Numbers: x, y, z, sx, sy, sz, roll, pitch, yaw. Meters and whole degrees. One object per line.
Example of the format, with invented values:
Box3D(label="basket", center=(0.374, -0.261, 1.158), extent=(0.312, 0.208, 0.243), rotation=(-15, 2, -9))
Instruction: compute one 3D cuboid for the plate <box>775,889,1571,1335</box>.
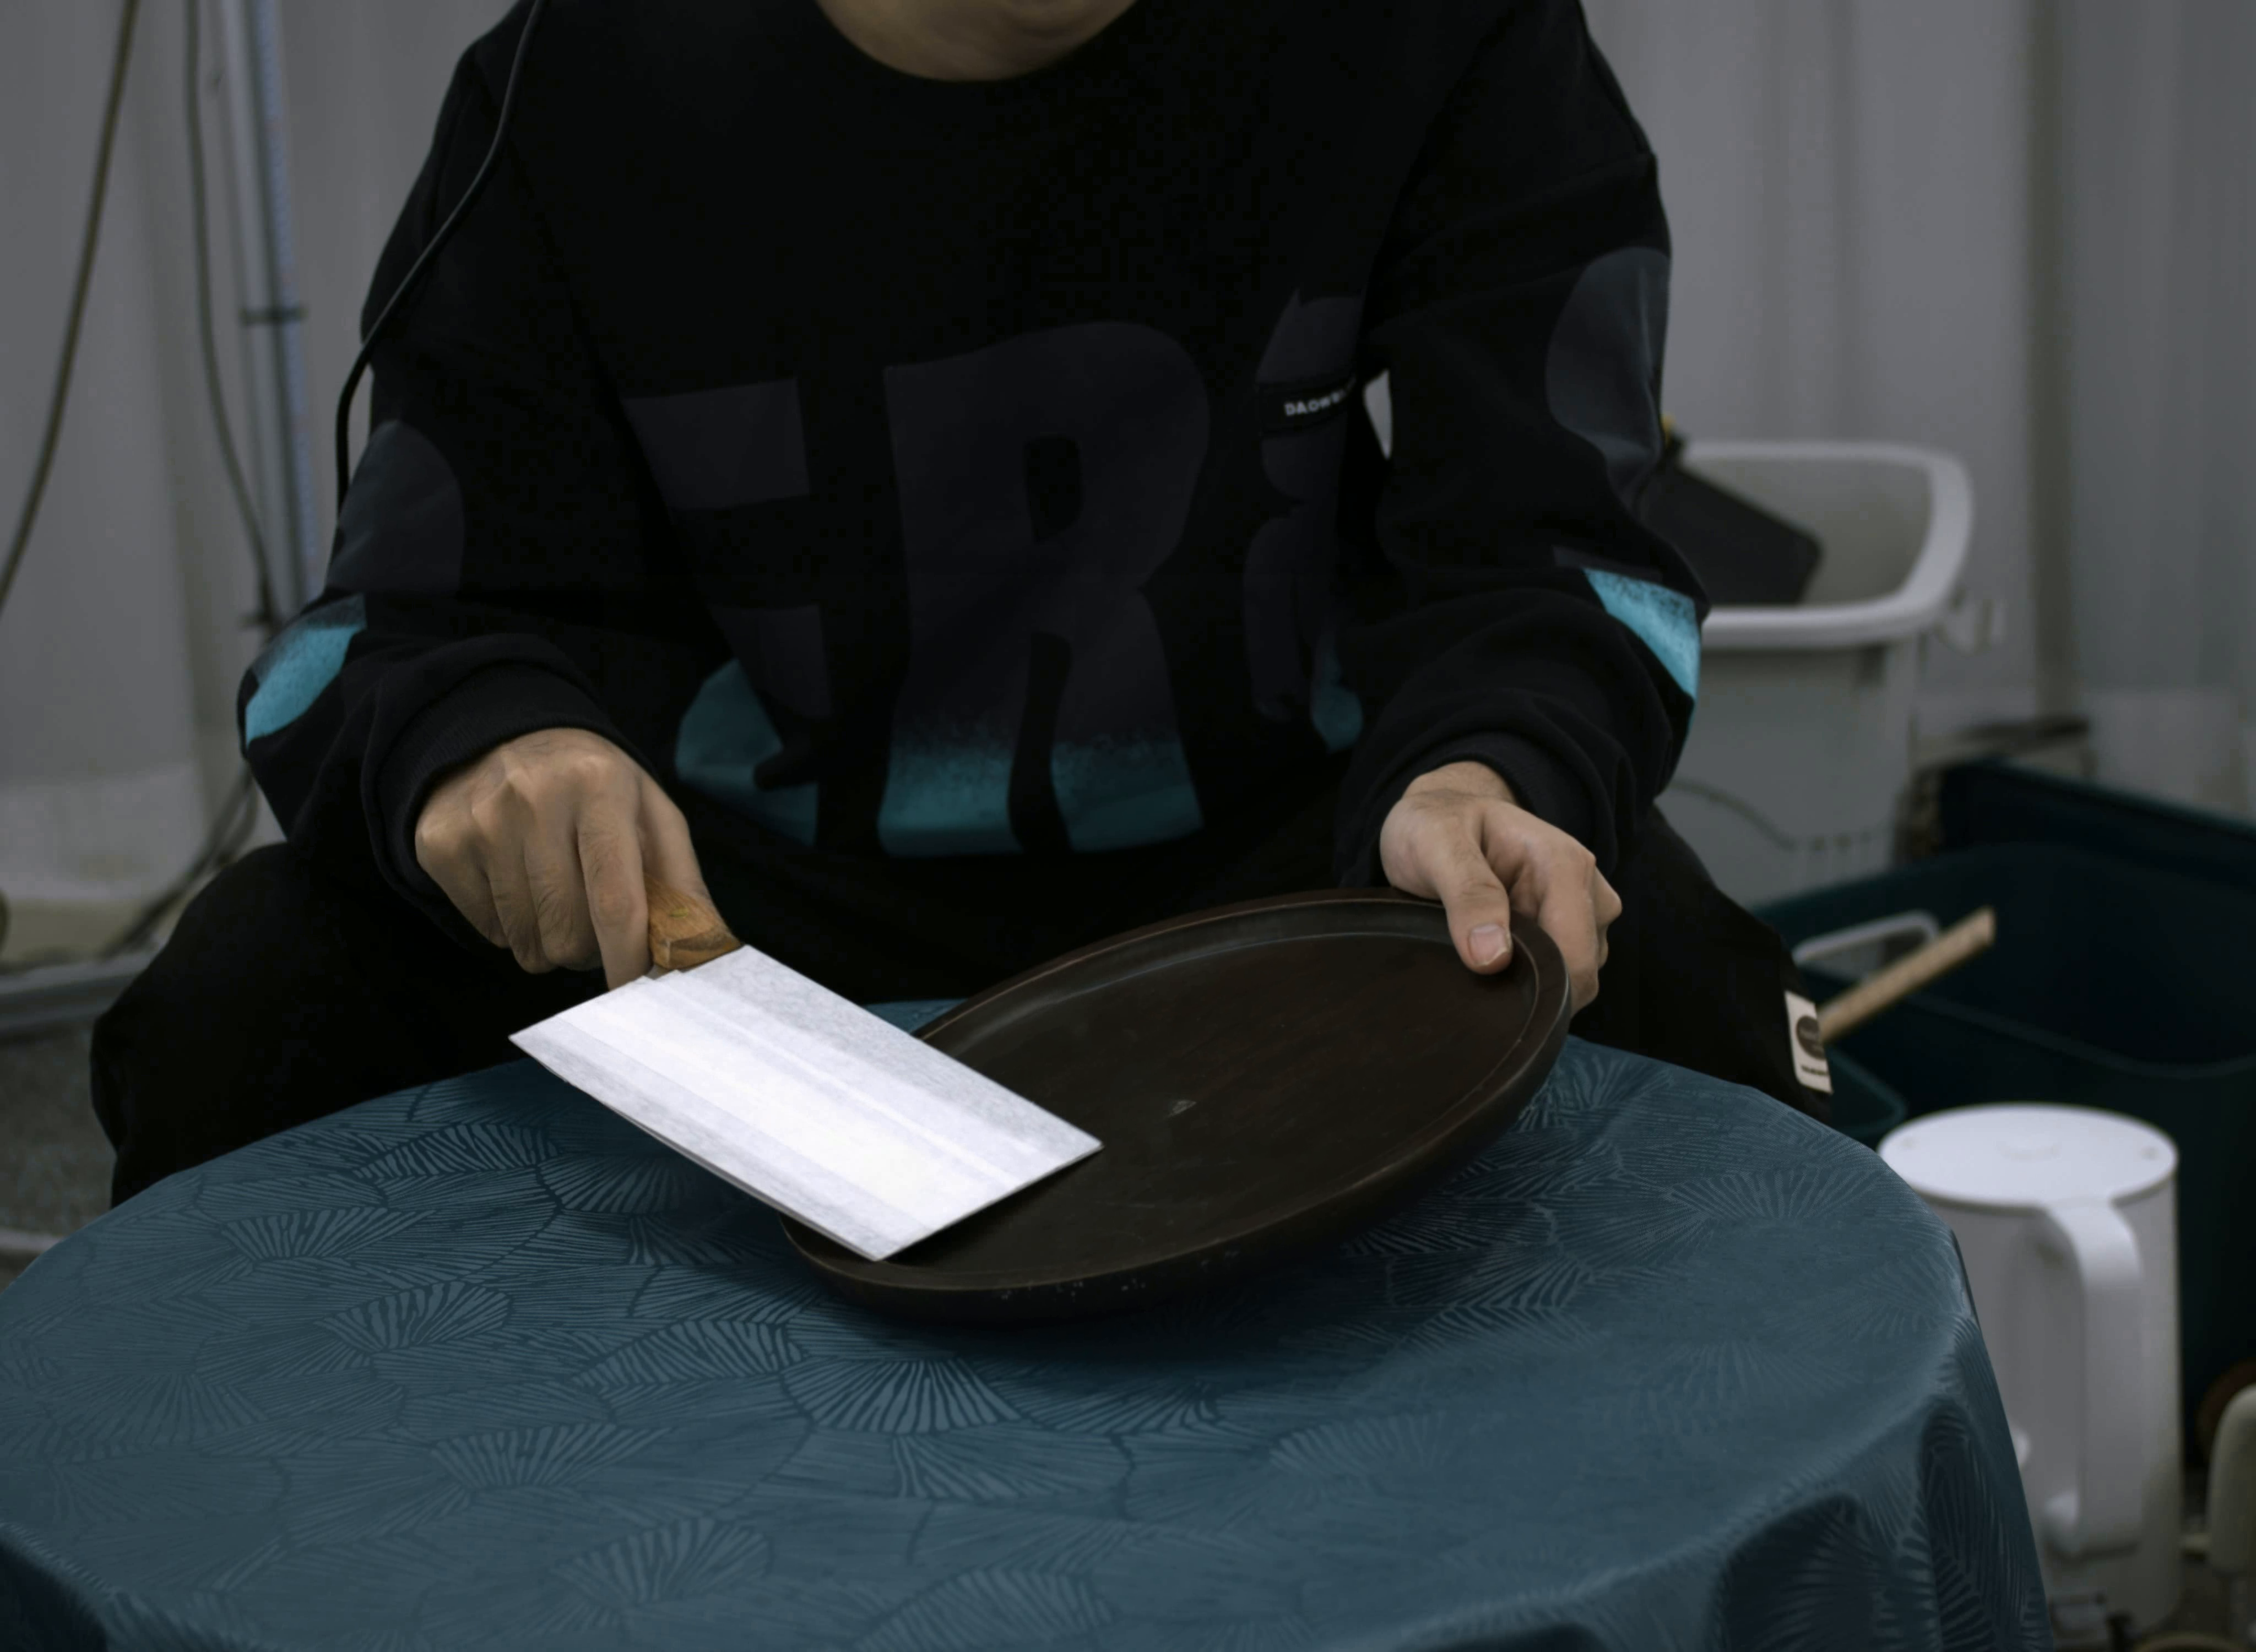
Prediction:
Box3D(label="plate", center=(0.014, 0.085, 1.665), extent=(0.254, 0.029, 0.257), rotation=(-17, 21, 6))

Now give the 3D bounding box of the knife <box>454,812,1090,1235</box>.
Box3D(label="knife", center=(-0.138, 0.063, 1.734), extent=(0.093, 0.021, 0.308), rotation=(-24, 34, -33))
